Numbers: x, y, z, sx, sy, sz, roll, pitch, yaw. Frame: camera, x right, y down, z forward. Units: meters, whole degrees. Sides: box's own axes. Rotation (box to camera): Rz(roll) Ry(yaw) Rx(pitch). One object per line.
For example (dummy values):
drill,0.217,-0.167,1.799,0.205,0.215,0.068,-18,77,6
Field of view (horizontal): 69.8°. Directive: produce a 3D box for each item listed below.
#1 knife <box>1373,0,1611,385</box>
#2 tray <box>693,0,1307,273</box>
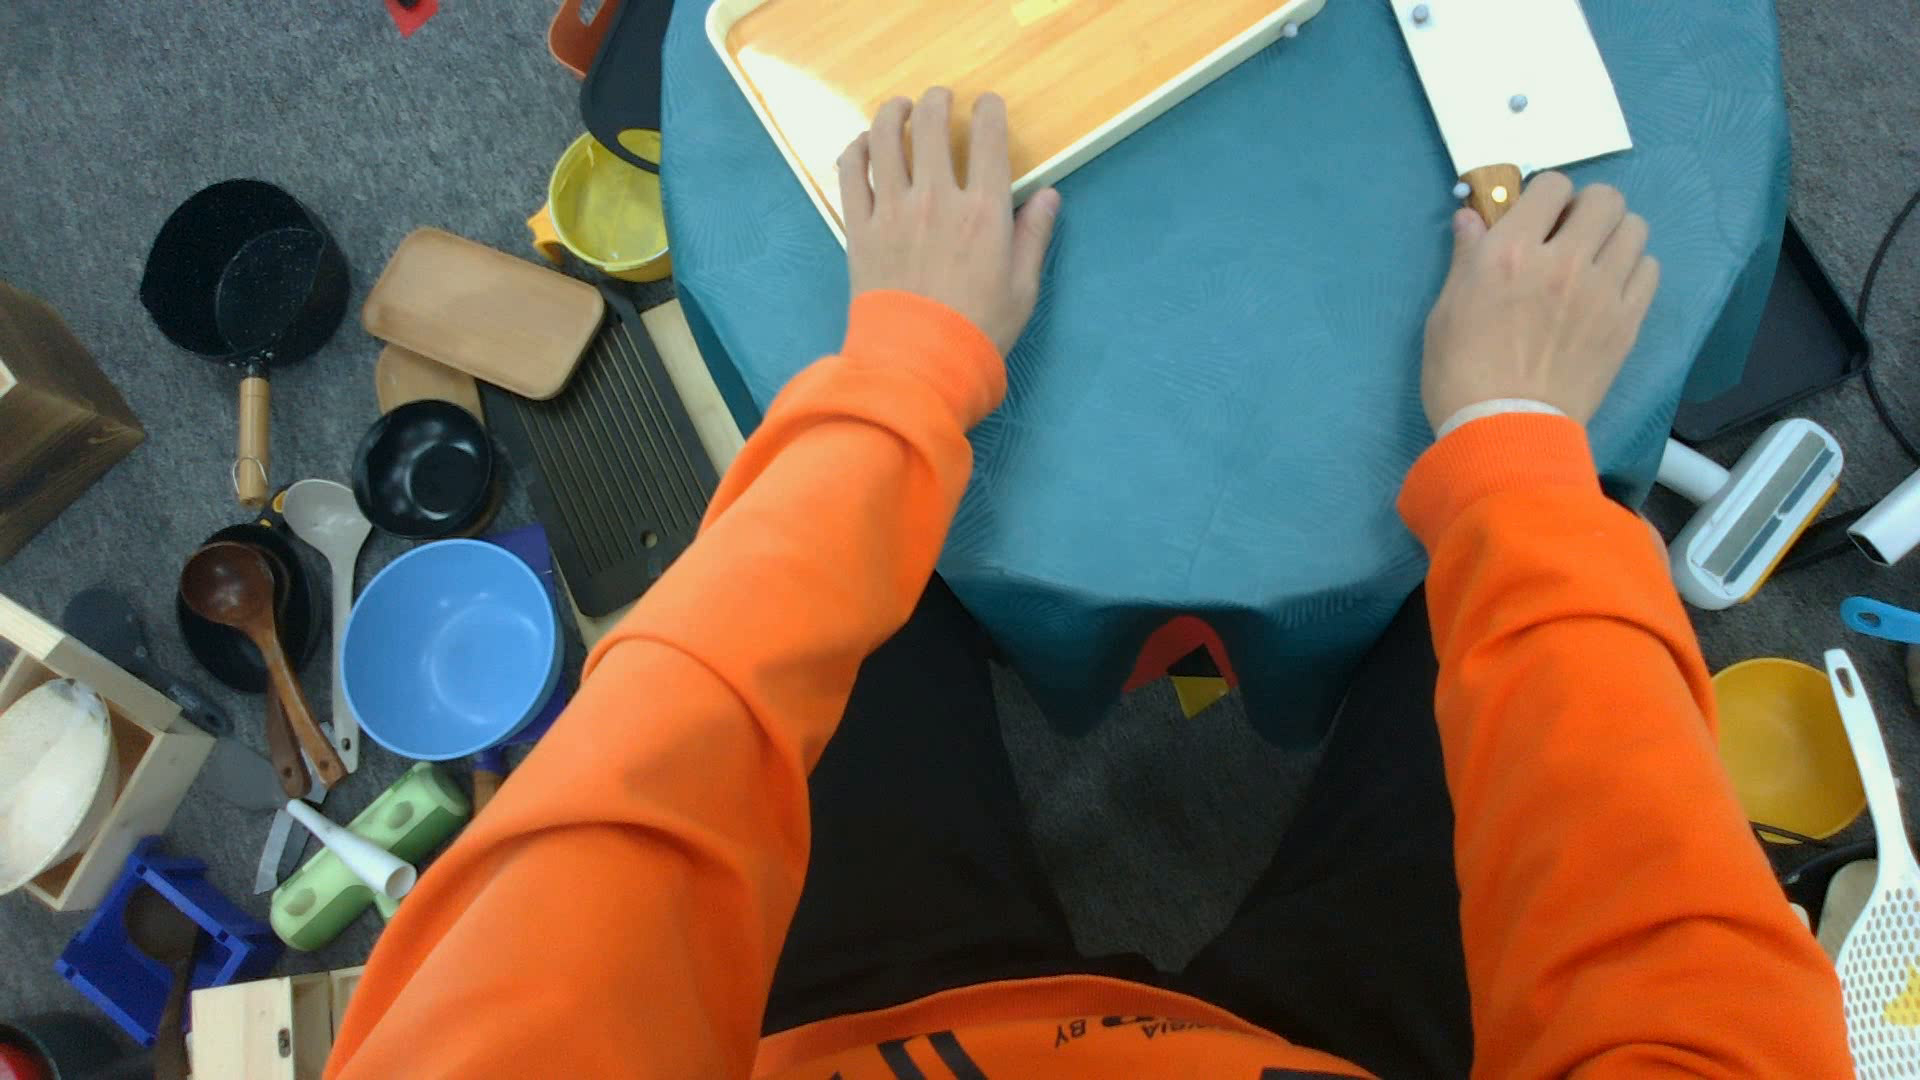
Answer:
knife,0.281,-0.229,0.716,0.093,0.021,0.306,-15,74,2
tray,0.022,-0.295,0.755,0.300,0.027,0.192,-32,76,-1
